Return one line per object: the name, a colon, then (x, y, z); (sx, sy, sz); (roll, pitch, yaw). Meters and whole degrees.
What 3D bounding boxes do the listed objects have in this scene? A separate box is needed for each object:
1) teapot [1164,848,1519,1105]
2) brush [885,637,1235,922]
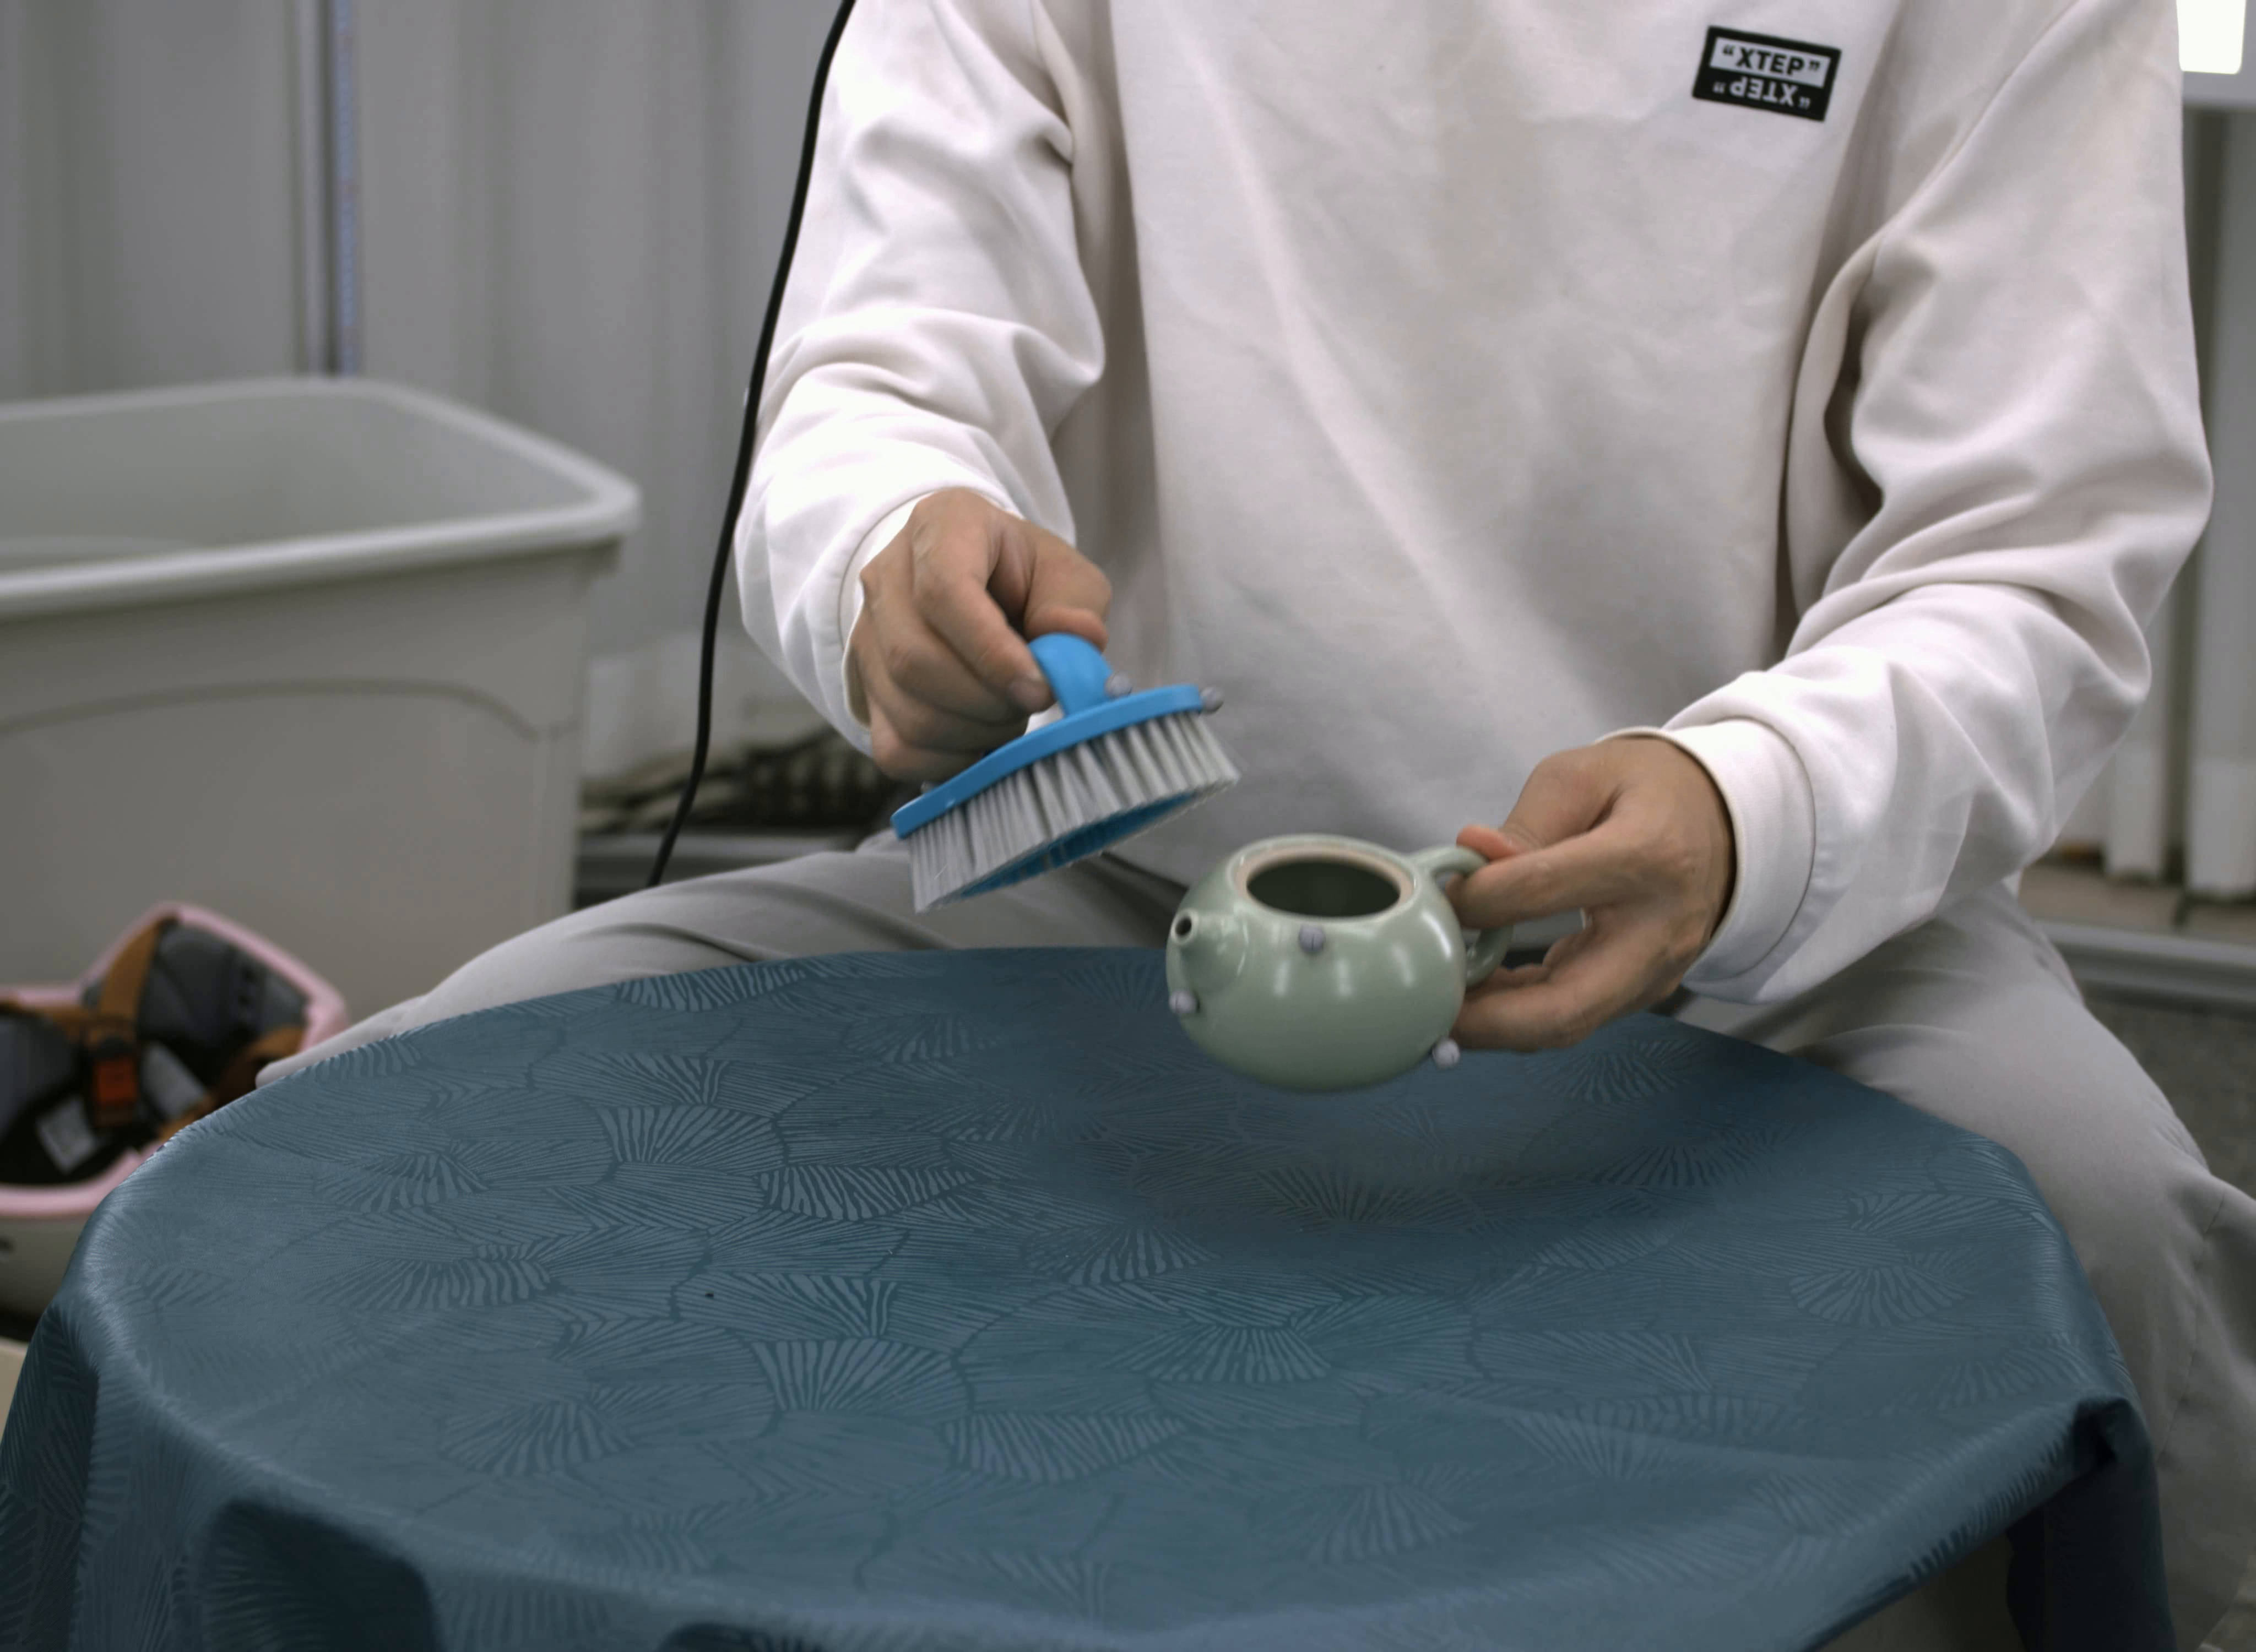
teapot: (0.065, 0.045, 1.600); (0.129, 0.061, 0.090); (-11, 26, -29)
brush: (-0.029, -0.020, 1.640); (0.084, 0.064, 0.141); (-23, -3, -28)
